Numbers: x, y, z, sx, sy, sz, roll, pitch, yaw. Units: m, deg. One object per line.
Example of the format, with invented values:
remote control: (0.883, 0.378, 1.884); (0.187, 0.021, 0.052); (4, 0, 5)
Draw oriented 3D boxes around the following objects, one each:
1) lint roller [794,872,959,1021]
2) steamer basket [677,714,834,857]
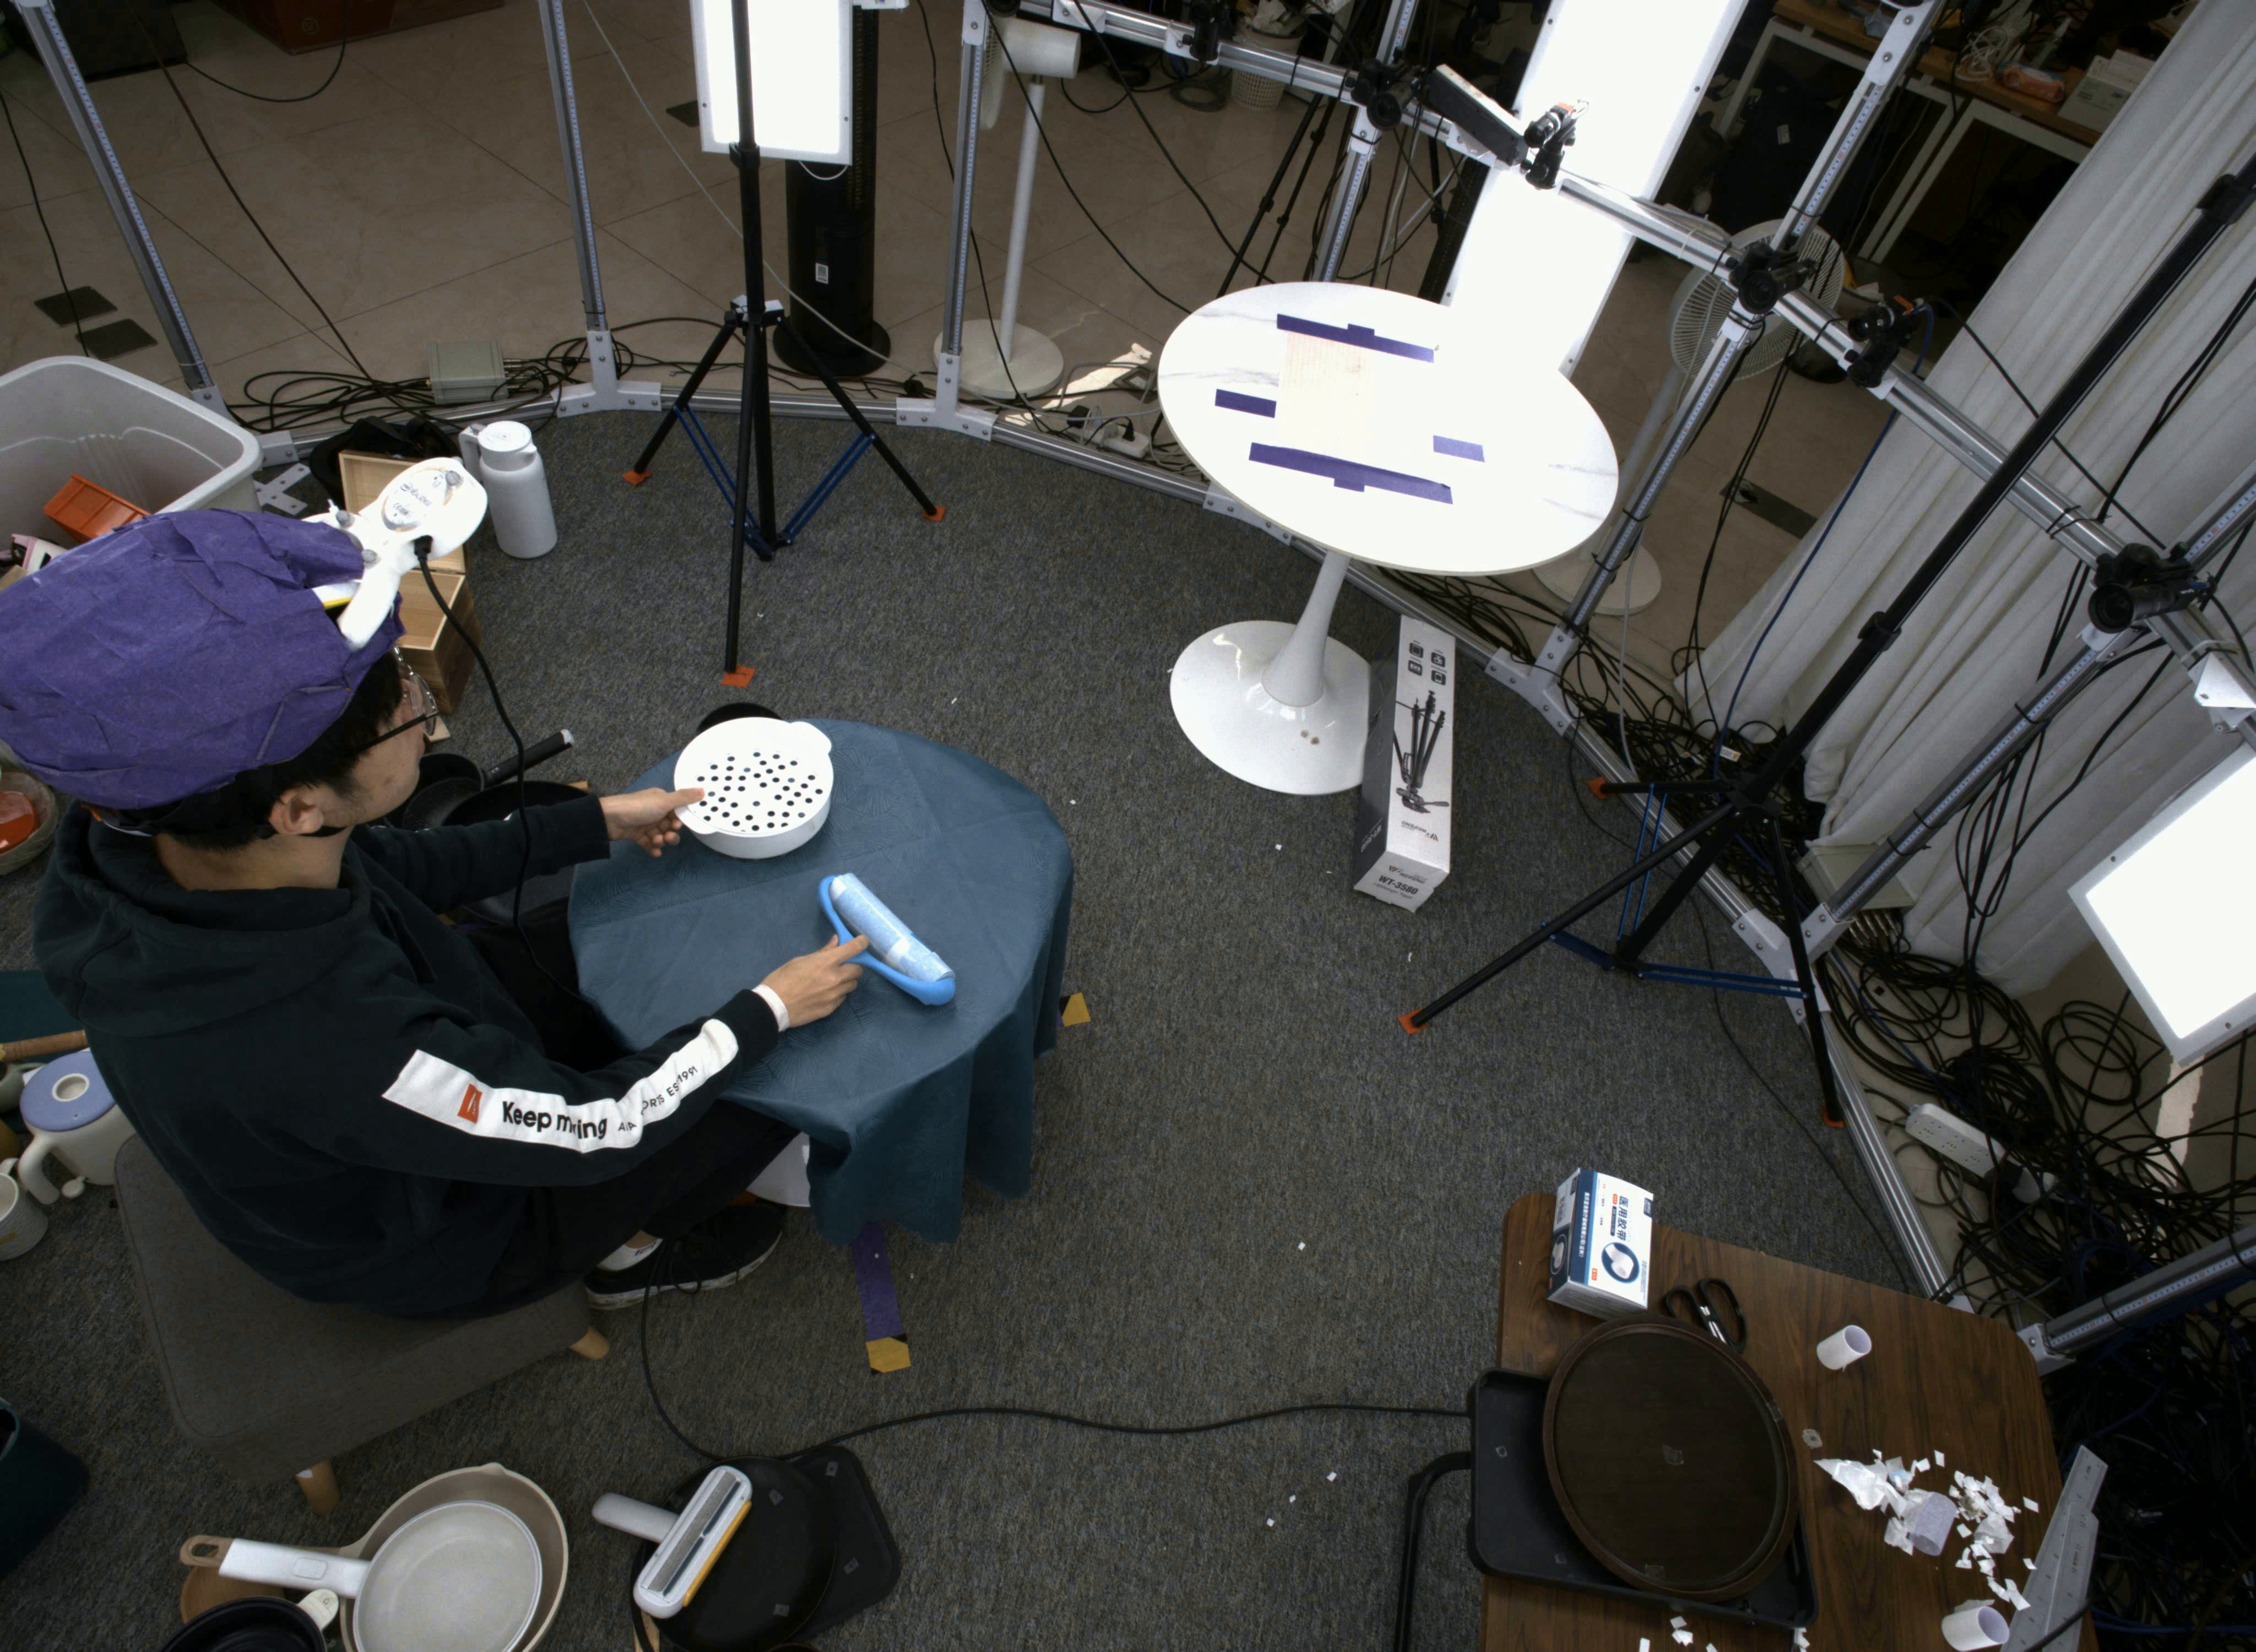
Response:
lint roller: (-0.335, 0.167, 1.595); (0.225, 0.069, 0.180); (39, 53, 12)
steamer basket: (-0.489, -0.053, 1.708); (0.198, 0.070, 0.230); (37, 55, 15)
